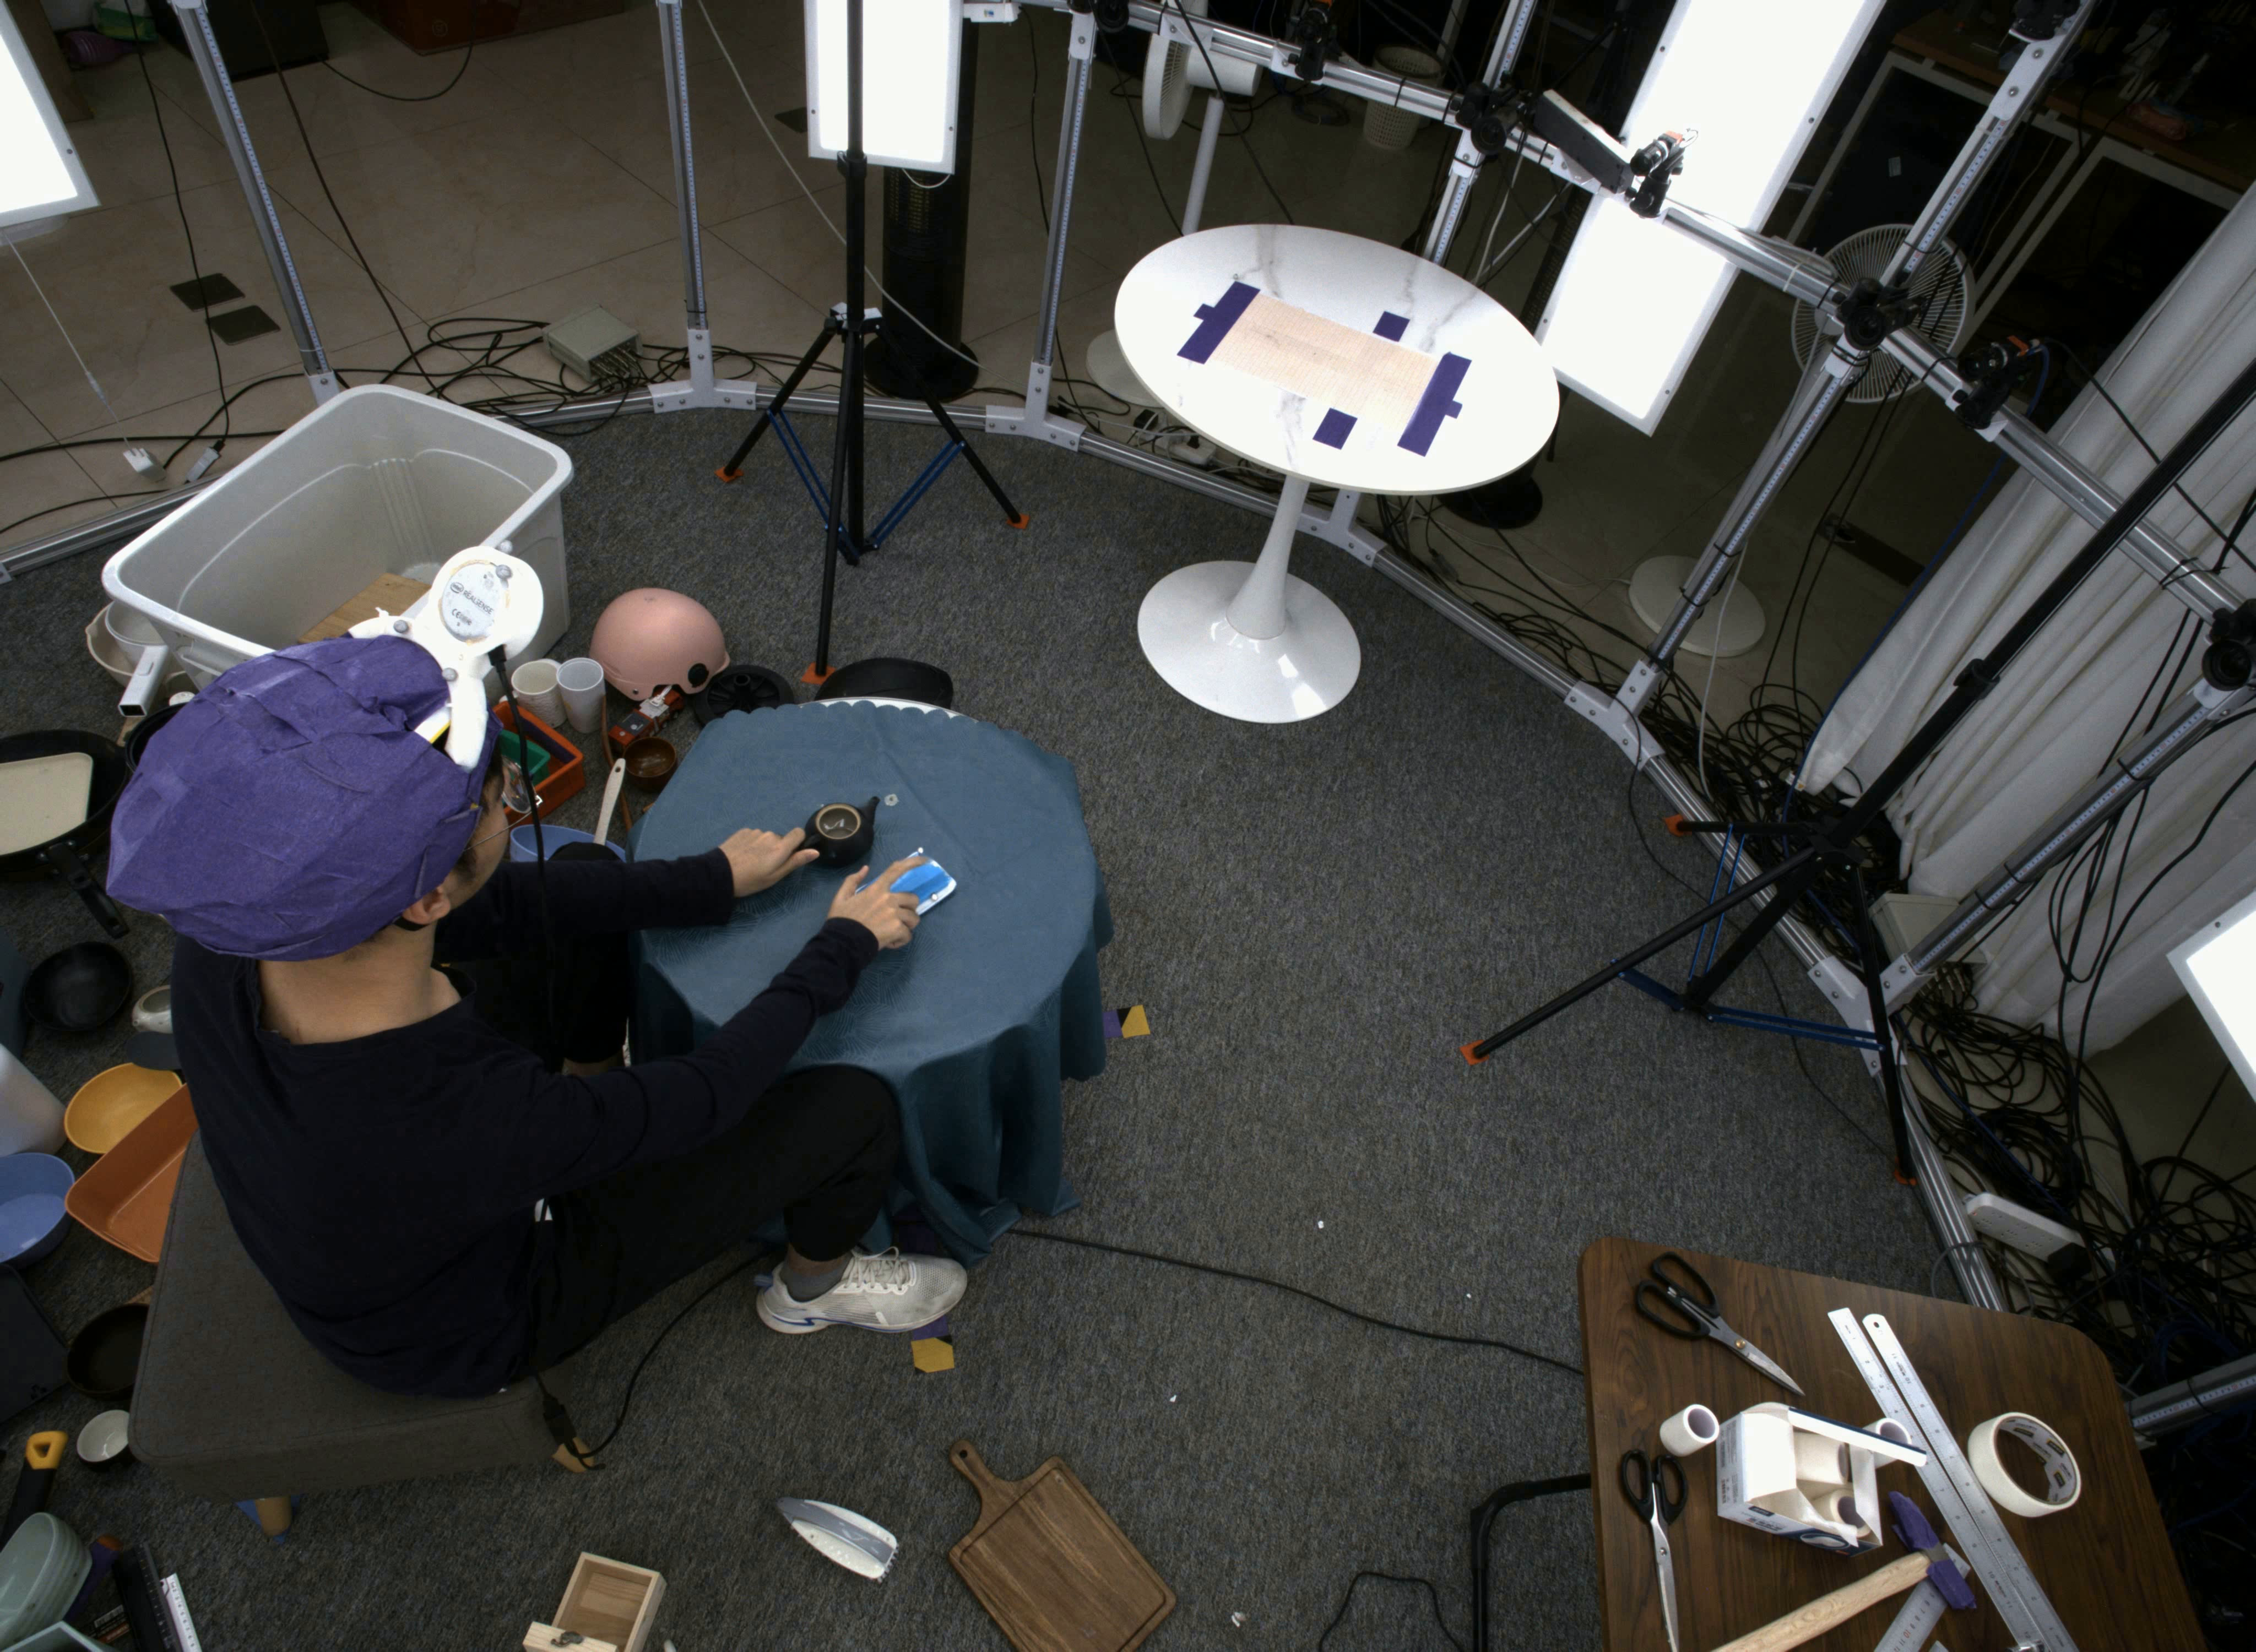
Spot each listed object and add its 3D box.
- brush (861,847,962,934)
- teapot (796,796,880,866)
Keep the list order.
[{"bbox_3d":[-0.274,0.074,1.648,0.082,0.057,0.143,17,37,13],"label":"brush"},{"bbox_3d":[-0.378,0.009,1.694,0.089,0.054,0.133,41,55,19],"label":"teapot"}]
